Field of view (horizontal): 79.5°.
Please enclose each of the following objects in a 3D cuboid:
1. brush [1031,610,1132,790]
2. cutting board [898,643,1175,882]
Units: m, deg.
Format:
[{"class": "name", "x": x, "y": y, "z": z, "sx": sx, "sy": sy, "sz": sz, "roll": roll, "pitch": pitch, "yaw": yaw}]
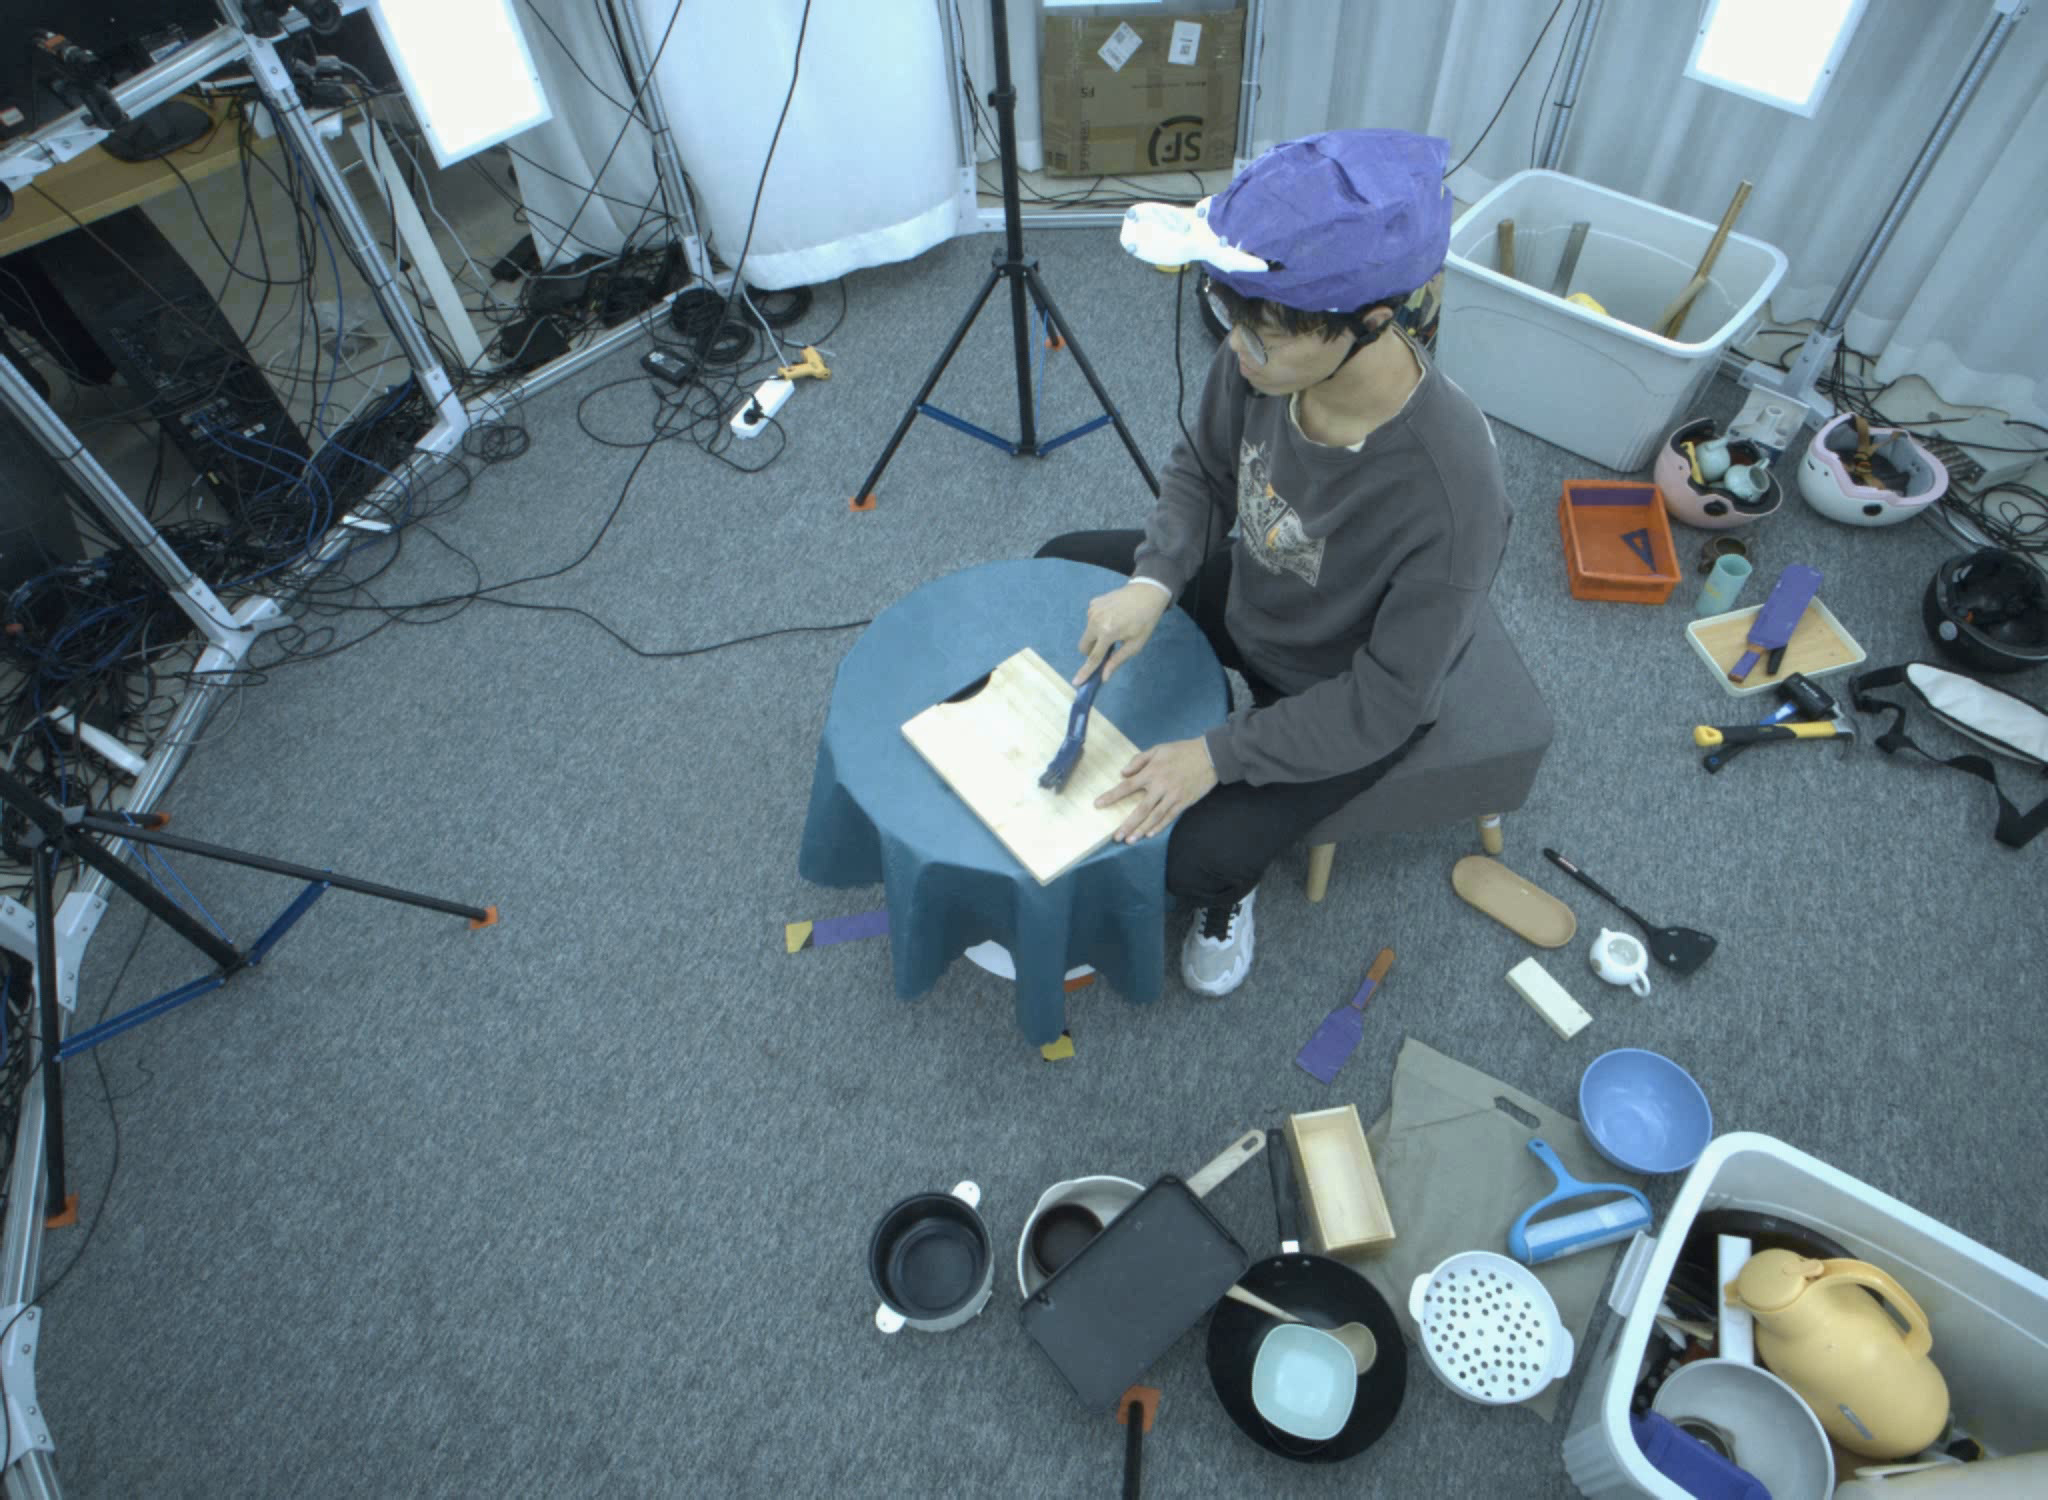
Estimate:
[{"class": "brush", "x": 0.082, "y": -0.075, "z": 1.709, "sx": 0.033, "sy": 0.098, "sz": 0.273, "roll": 16, "pitch": 85, "yaw": 30}, {"class": "cutting board", "x": 0.013, "y": 0.009, "z": 1.768, "sx": 0.253, "sy": 0.024, "sz": 0.342, "roll": -34, "pitch": 60, "yaw": -21}]
